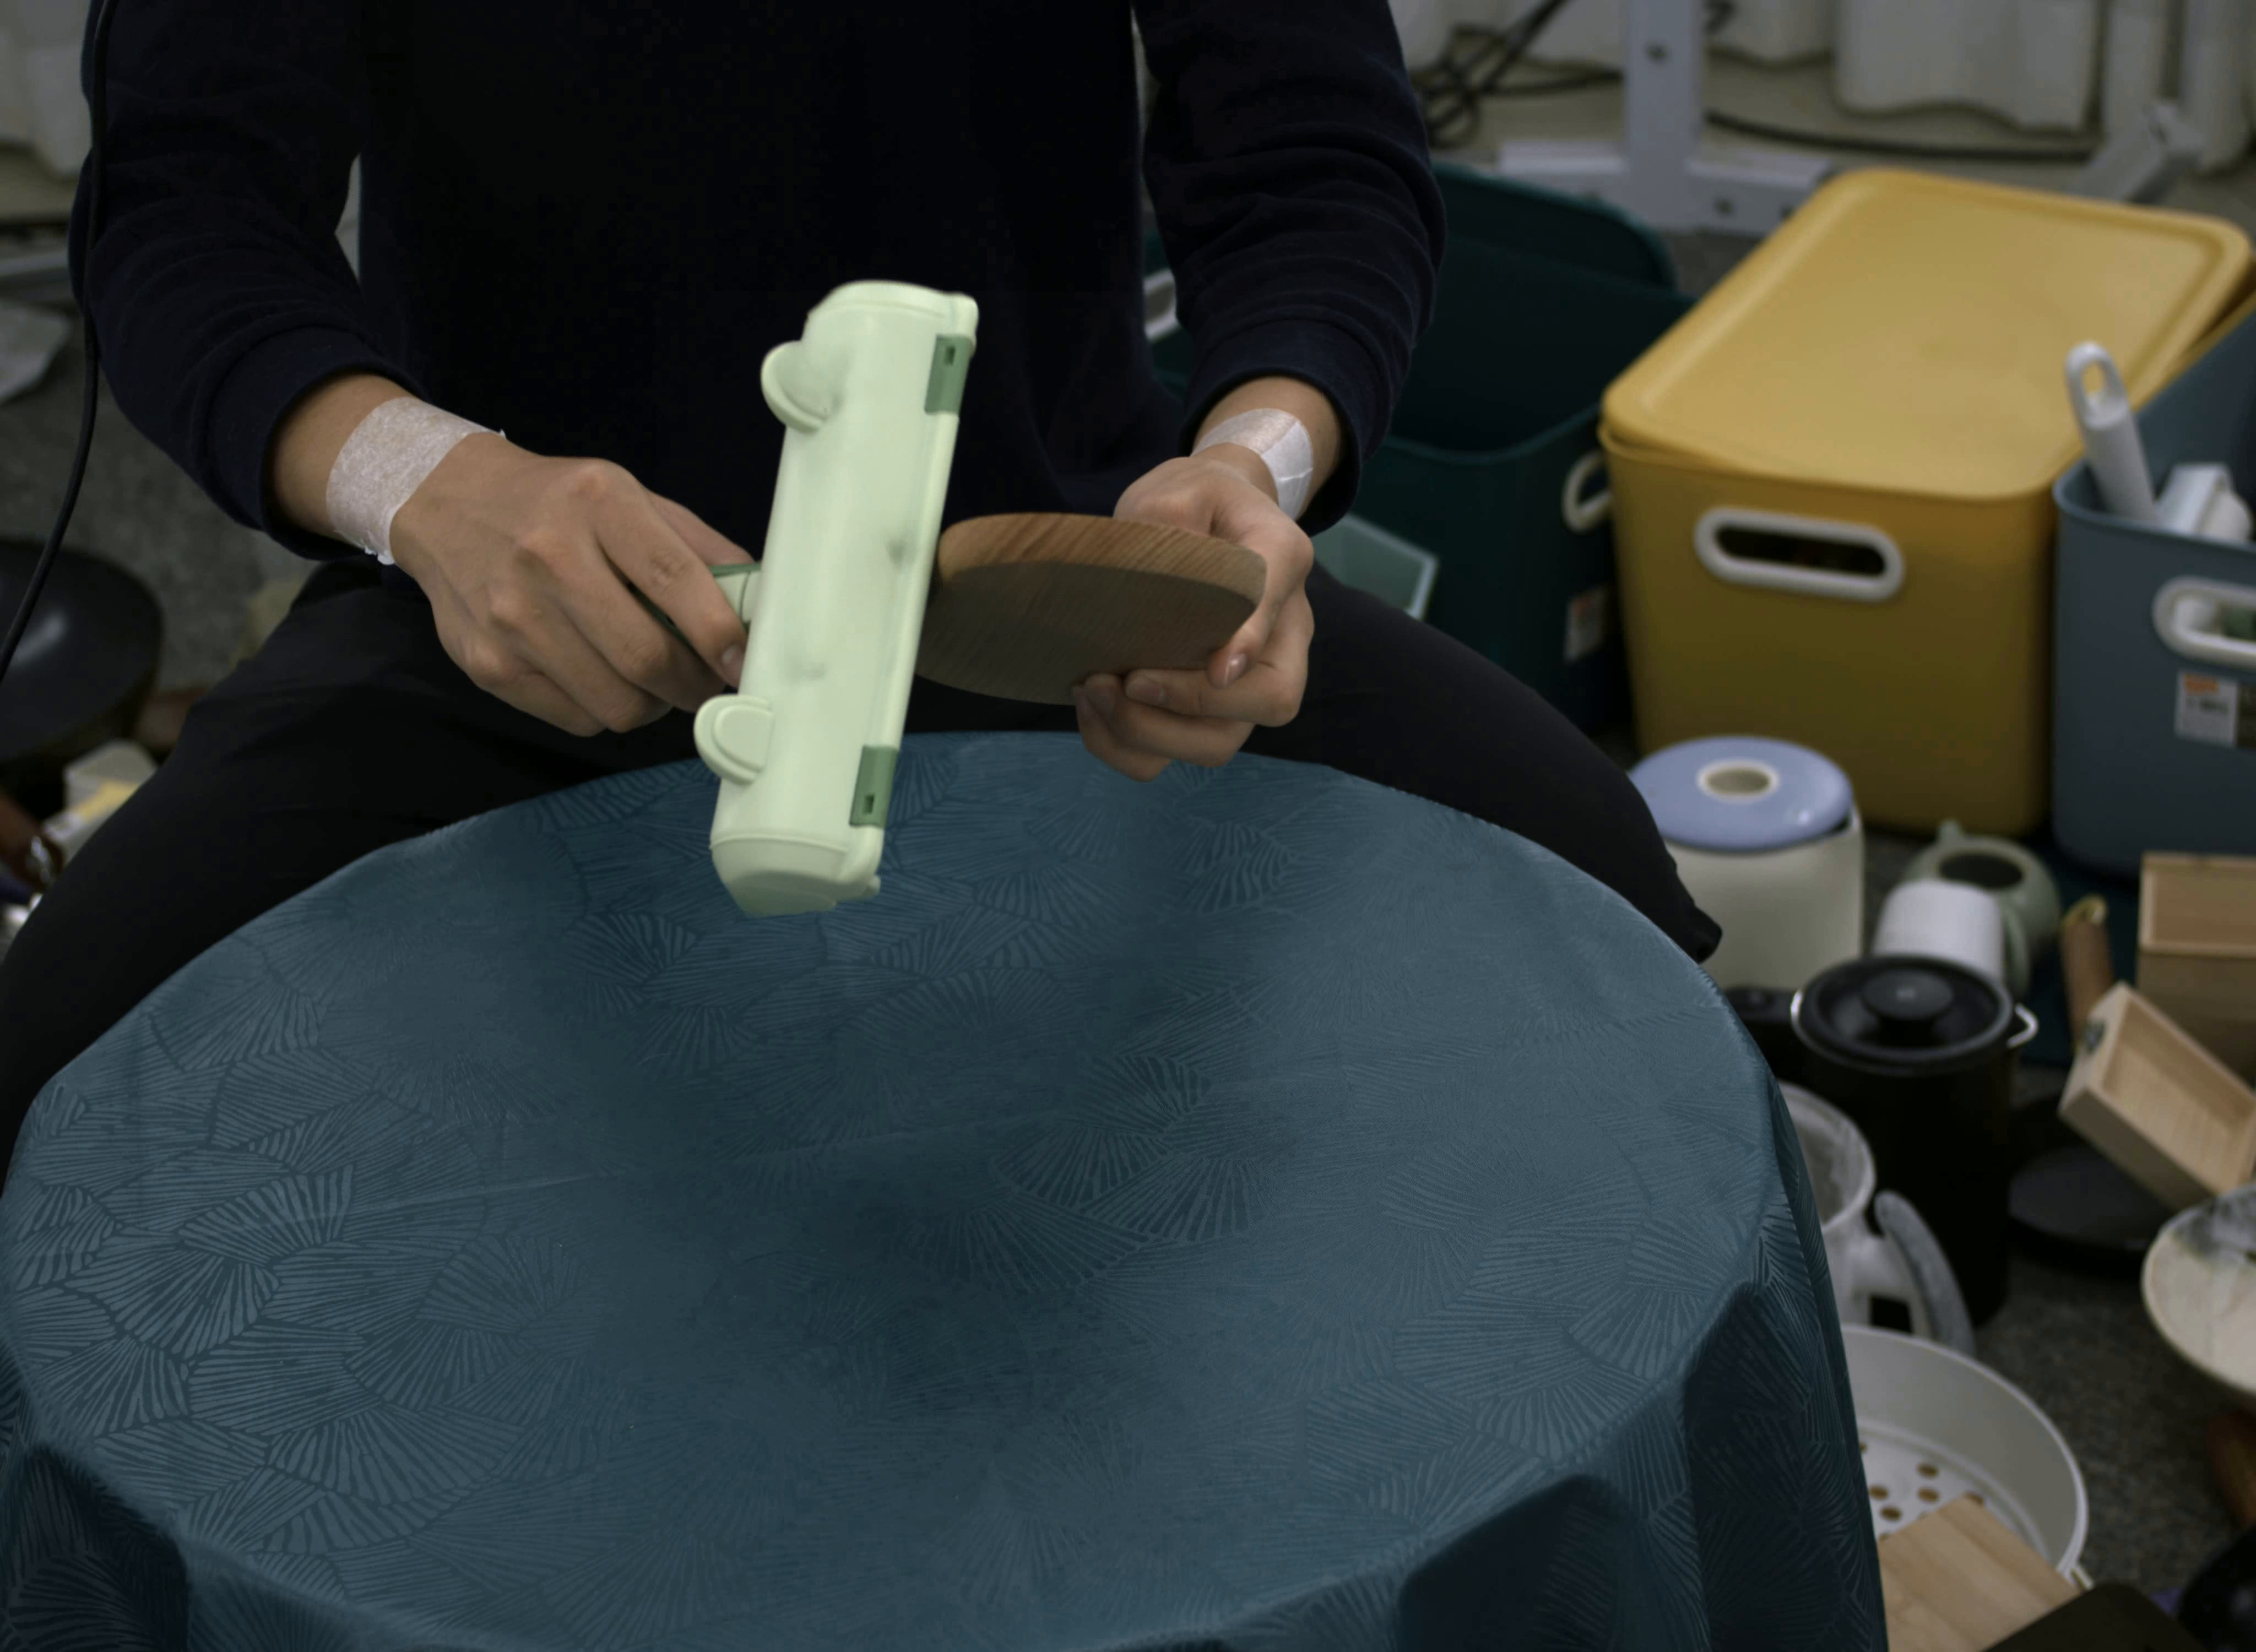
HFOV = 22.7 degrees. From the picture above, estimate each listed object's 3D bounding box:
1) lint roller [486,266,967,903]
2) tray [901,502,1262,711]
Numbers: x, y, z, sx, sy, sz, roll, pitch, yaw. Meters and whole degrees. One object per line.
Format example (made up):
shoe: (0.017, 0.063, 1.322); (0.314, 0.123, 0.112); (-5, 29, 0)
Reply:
lint roller: (-0.141, -0.076, 1.762); (0.181, 0.201, 0.082); (-2, -21, 28)
tray: (-0.020, -0.067, 1.787); (0.101, 0.020, 0.229); (9, -13, -8)
